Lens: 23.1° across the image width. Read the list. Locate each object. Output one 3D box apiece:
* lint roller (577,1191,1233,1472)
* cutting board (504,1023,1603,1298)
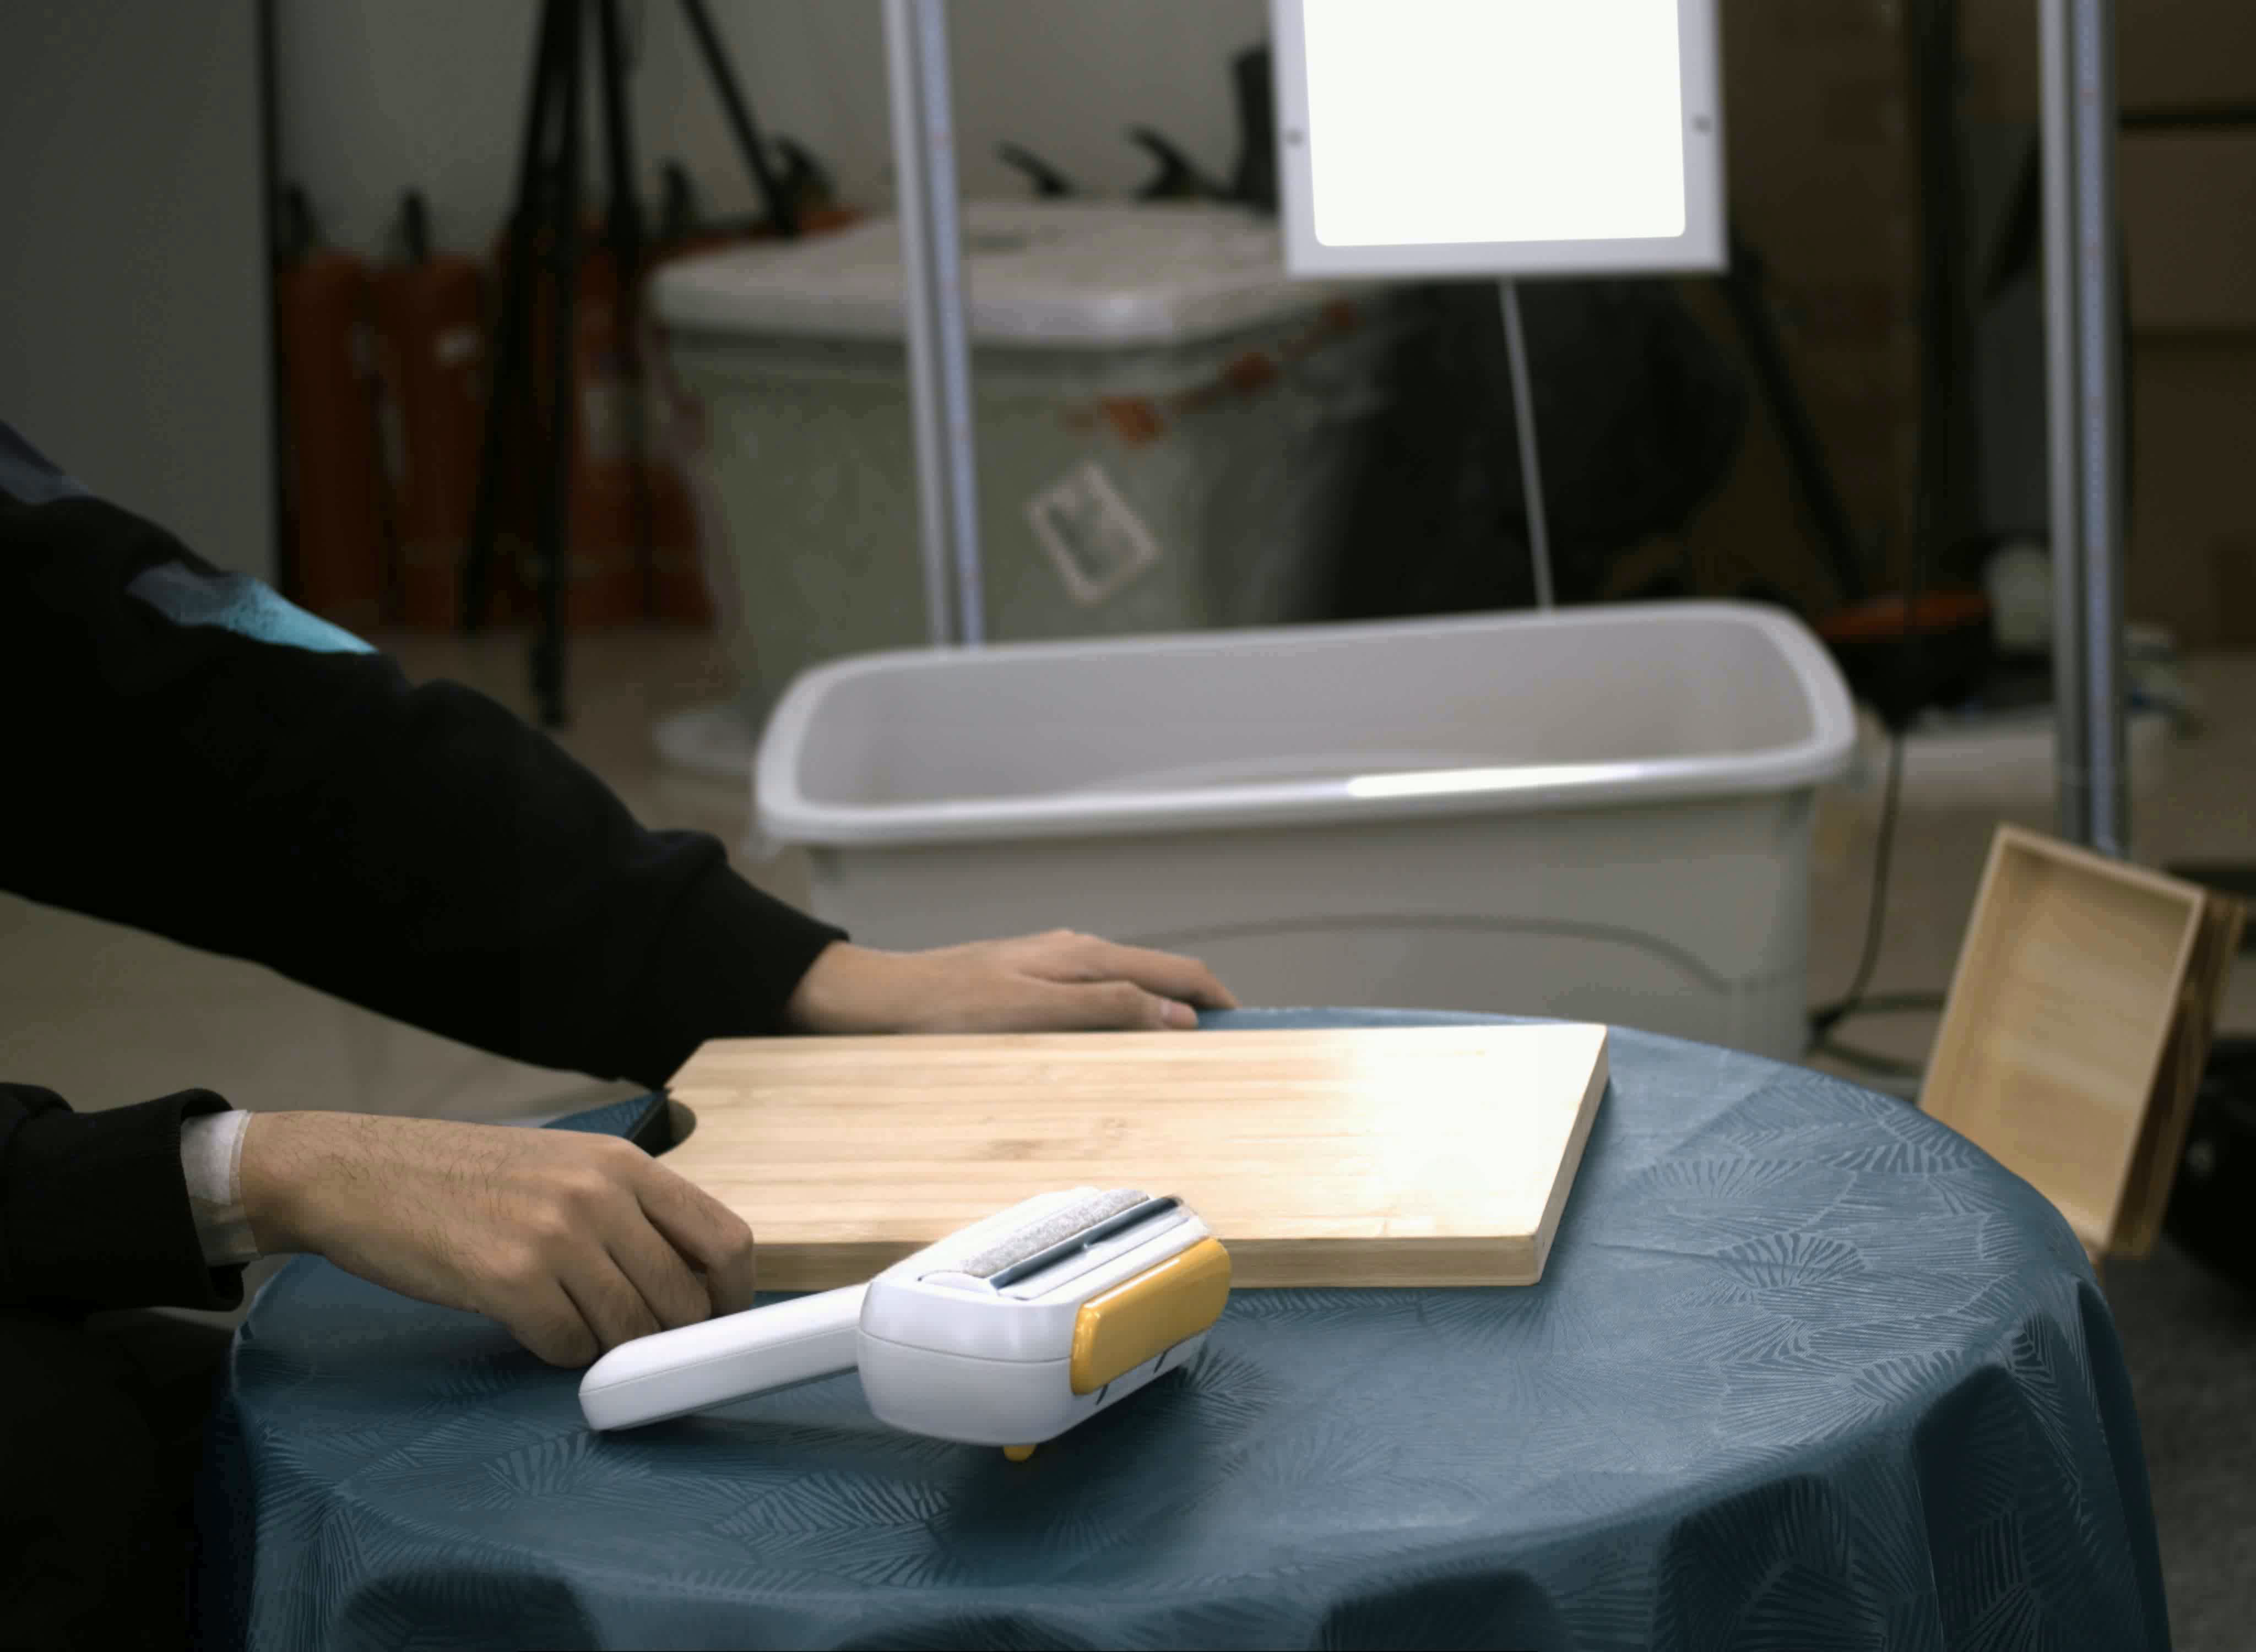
[{"bbox_3d":[-0.080,0.154,1.671,0.195,0.074,0.189,-1,9,23],"label":"lint roller"},{"bbox_3d":[-0.018,0.115,1.915,0.351,0.023,0.248,-2,14,13],"label":"cutting board"}]
